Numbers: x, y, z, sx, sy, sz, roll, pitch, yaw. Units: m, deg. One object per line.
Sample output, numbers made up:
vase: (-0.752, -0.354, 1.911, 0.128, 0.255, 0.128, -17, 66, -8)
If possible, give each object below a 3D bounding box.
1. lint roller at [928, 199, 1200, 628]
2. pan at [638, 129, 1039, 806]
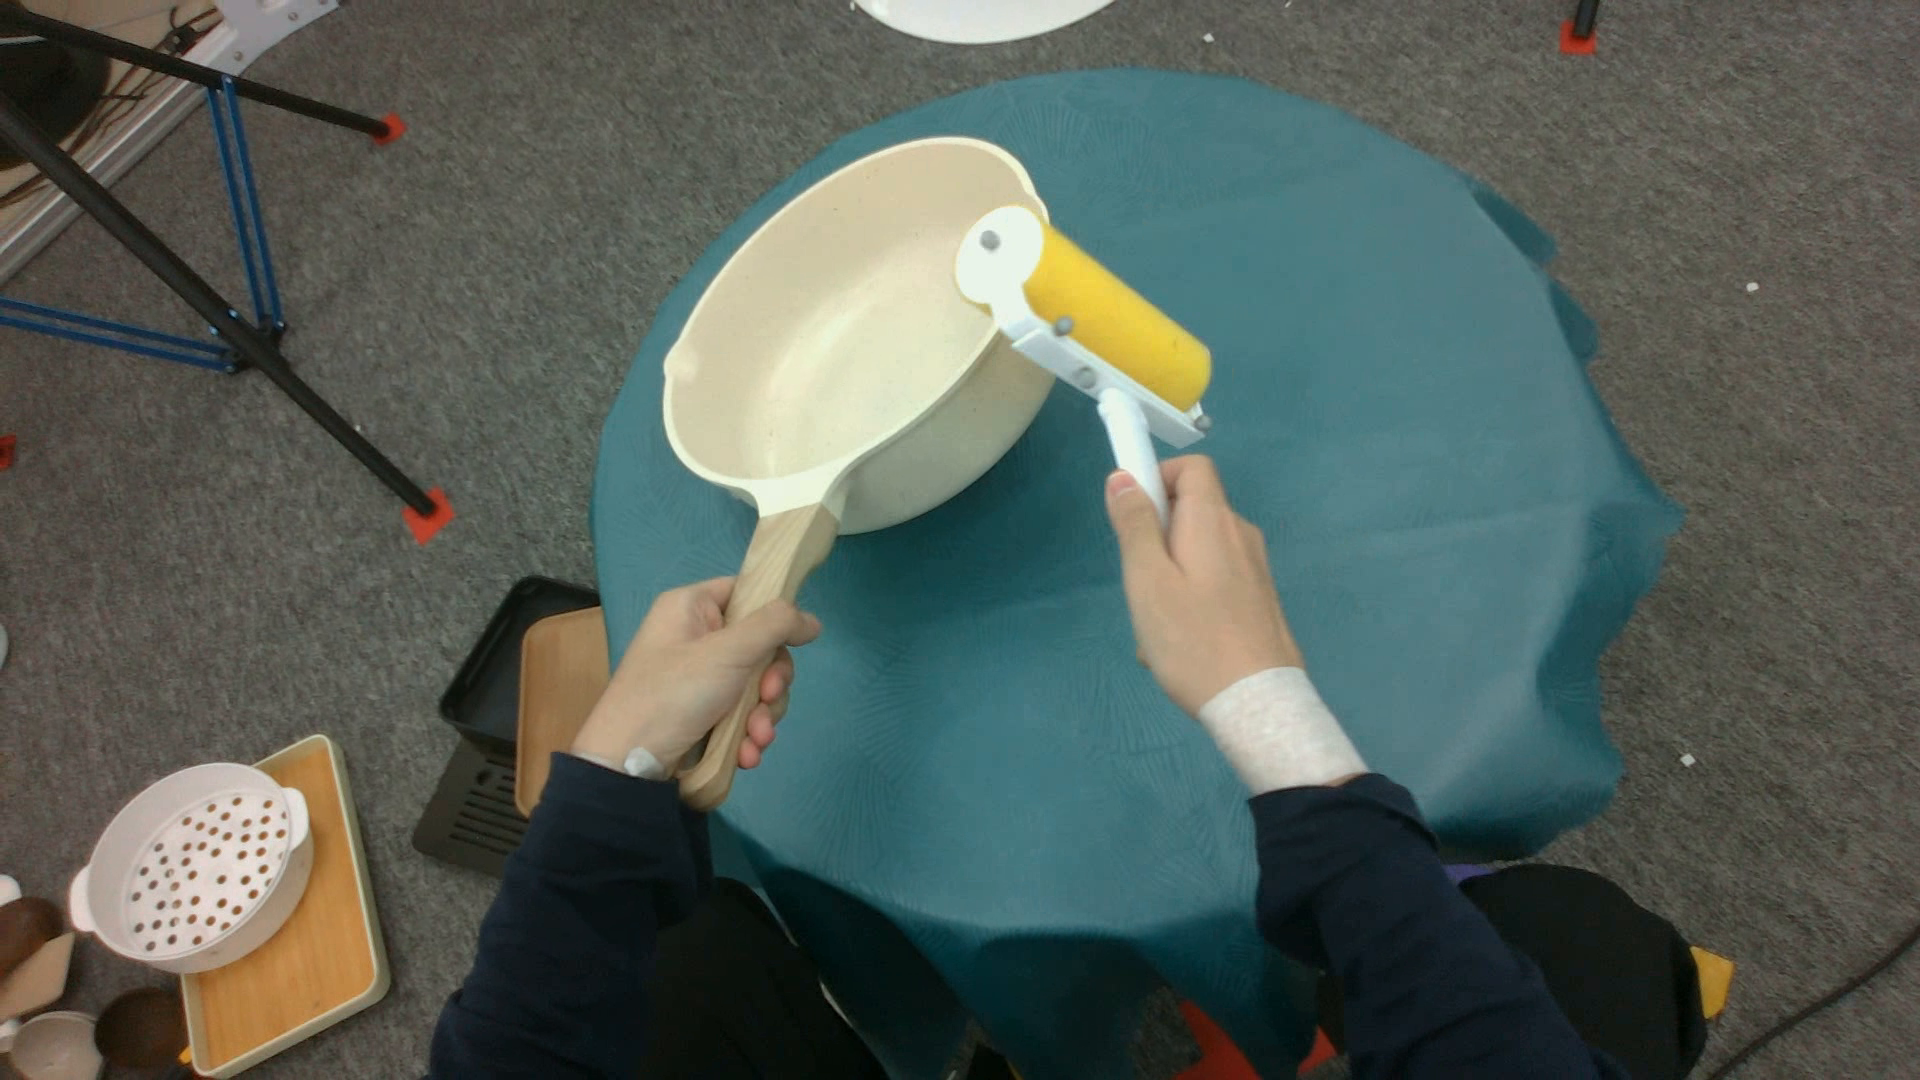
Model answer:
lint roller: (0.077, -0.052, 0.627, 0.051, 0.174, 0.192, -39, 57, 25)
pan: (-0.074, -0.046, 0.742, 0.262, 0.102, 0.437, -12, 51, 26)
